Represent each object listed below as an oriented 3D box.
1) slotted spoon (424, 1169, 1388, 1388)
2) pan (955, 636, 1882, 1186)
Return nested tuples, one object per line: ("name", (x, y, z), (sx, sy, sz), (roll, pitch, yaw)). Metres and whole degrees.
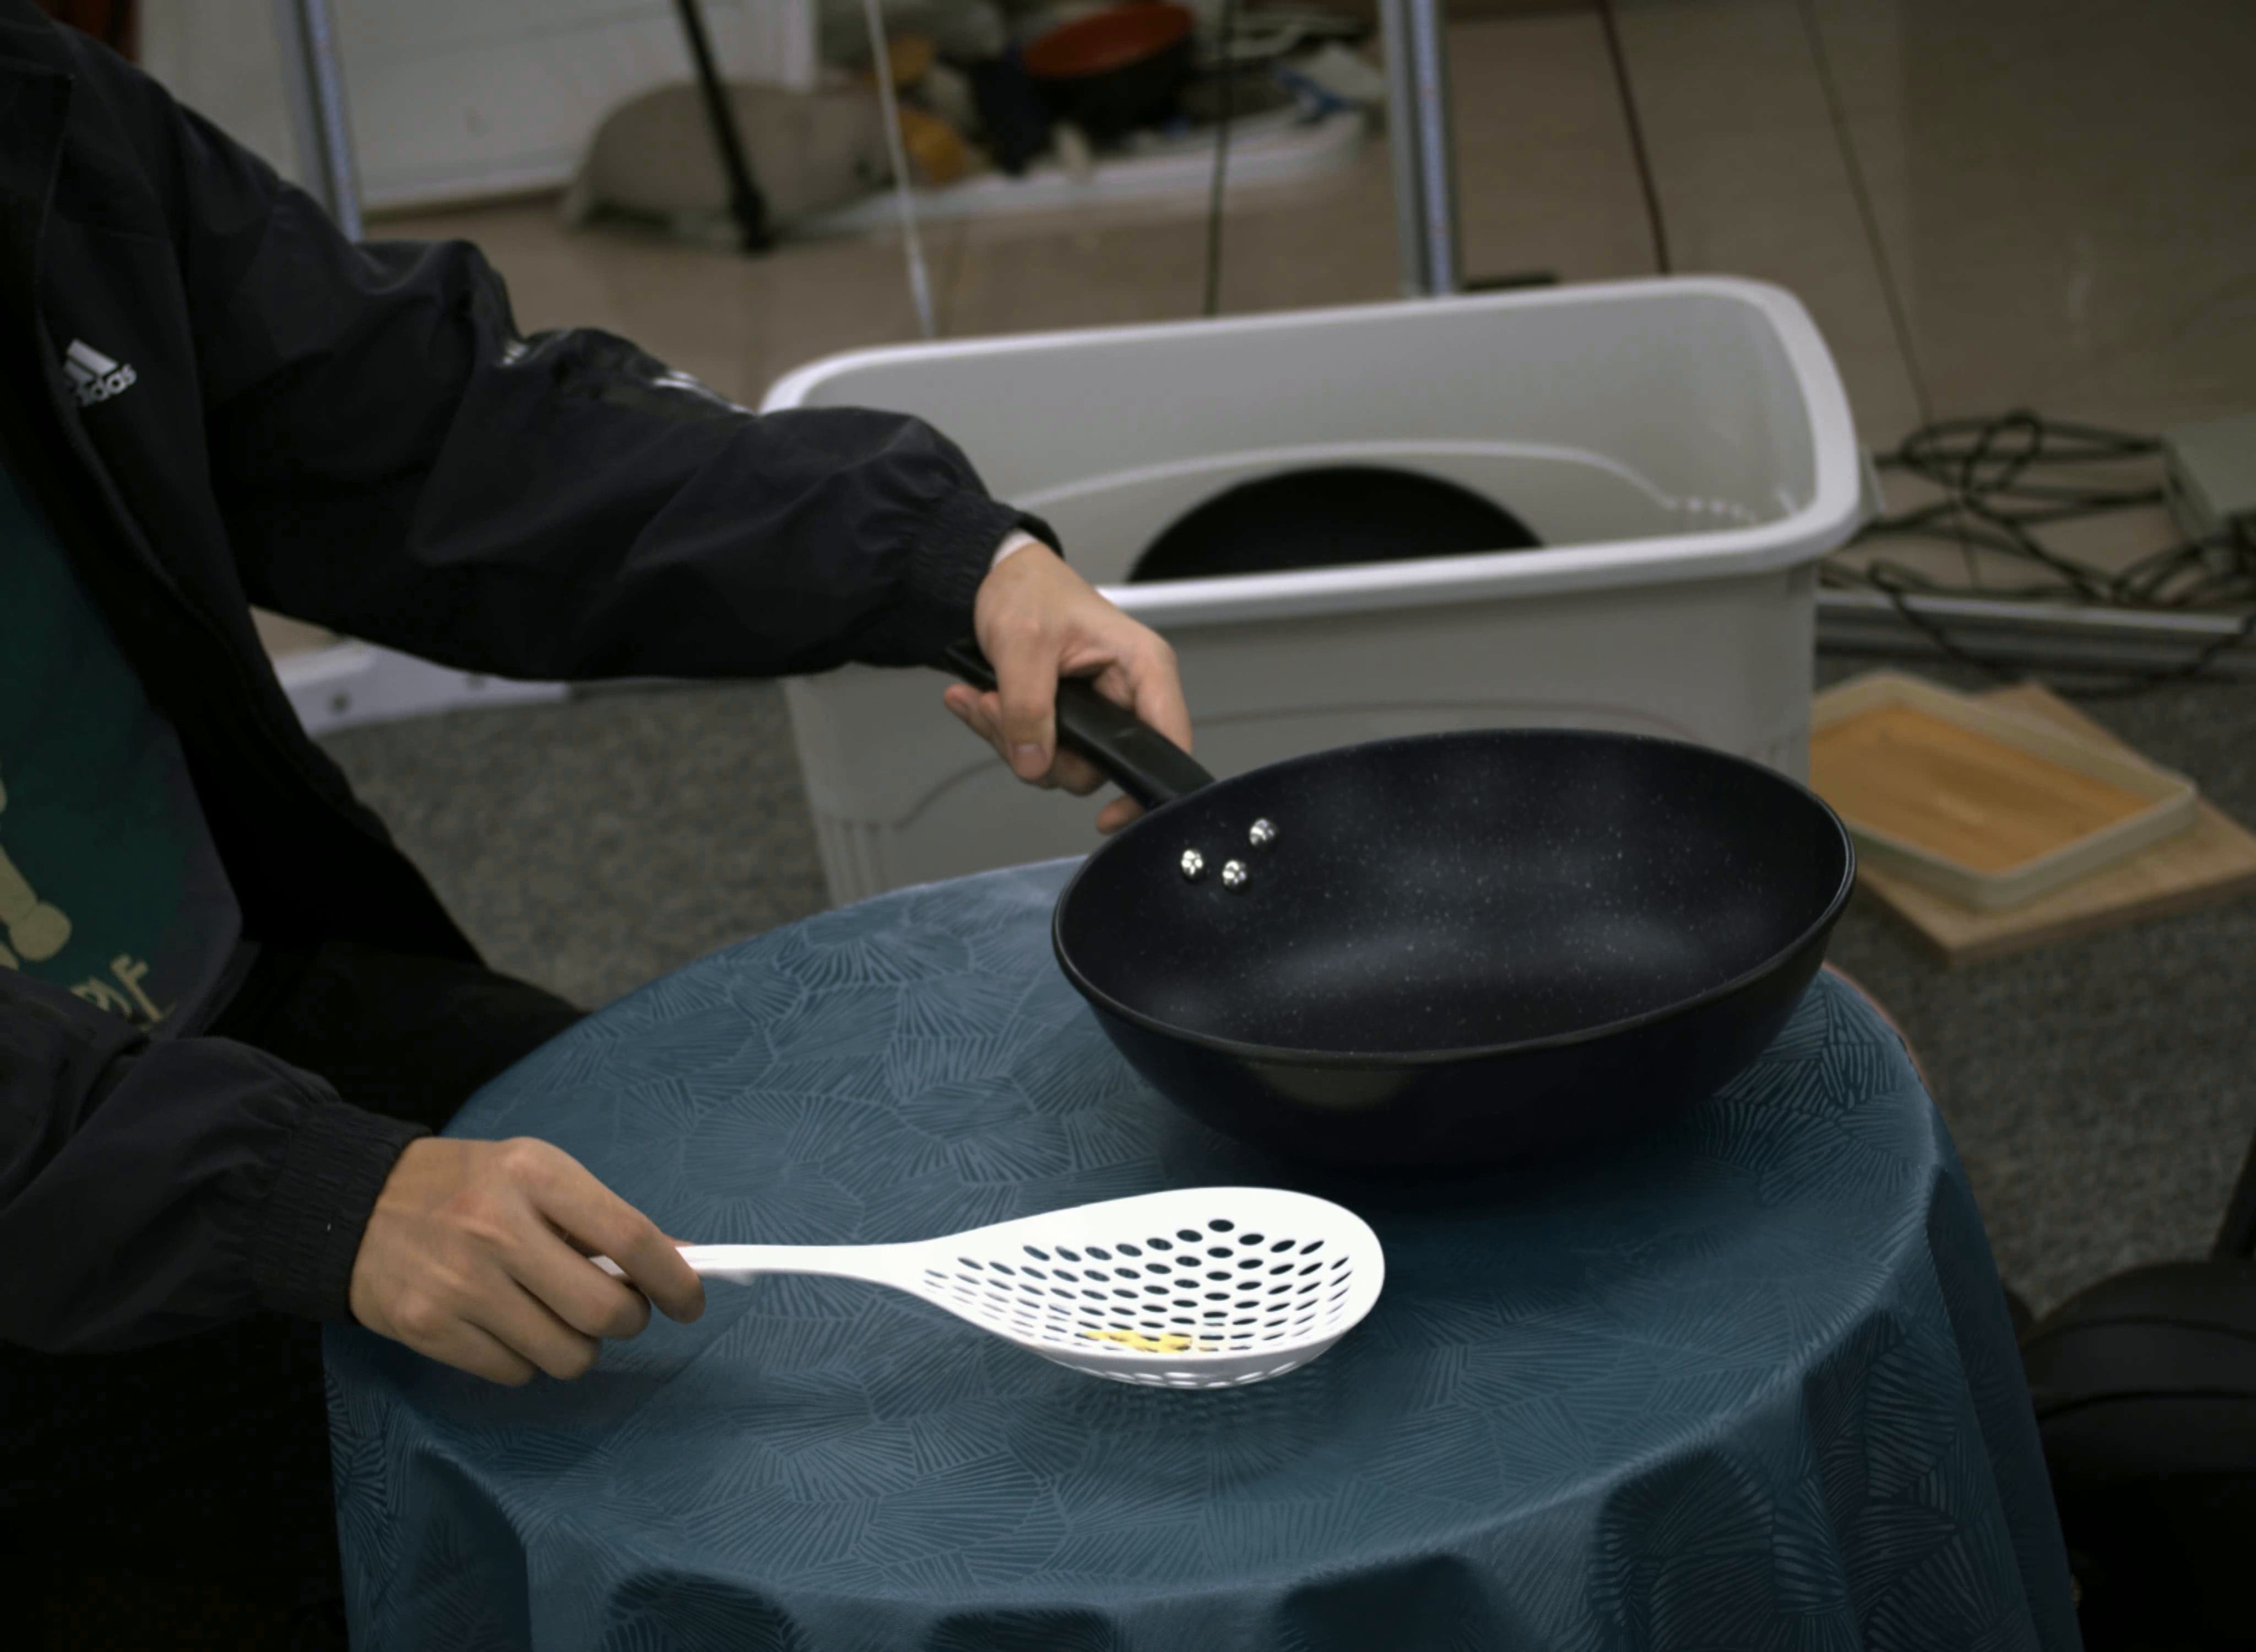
("slotted spoon", (-0.081, 0.166, 2.026), (0.347, 0.051, 0.135), (3, 25, 7))
("pan", (0.083, 0.031, 2.233), (0.308, 0.113, 0.472), (-21, 27, -33))
